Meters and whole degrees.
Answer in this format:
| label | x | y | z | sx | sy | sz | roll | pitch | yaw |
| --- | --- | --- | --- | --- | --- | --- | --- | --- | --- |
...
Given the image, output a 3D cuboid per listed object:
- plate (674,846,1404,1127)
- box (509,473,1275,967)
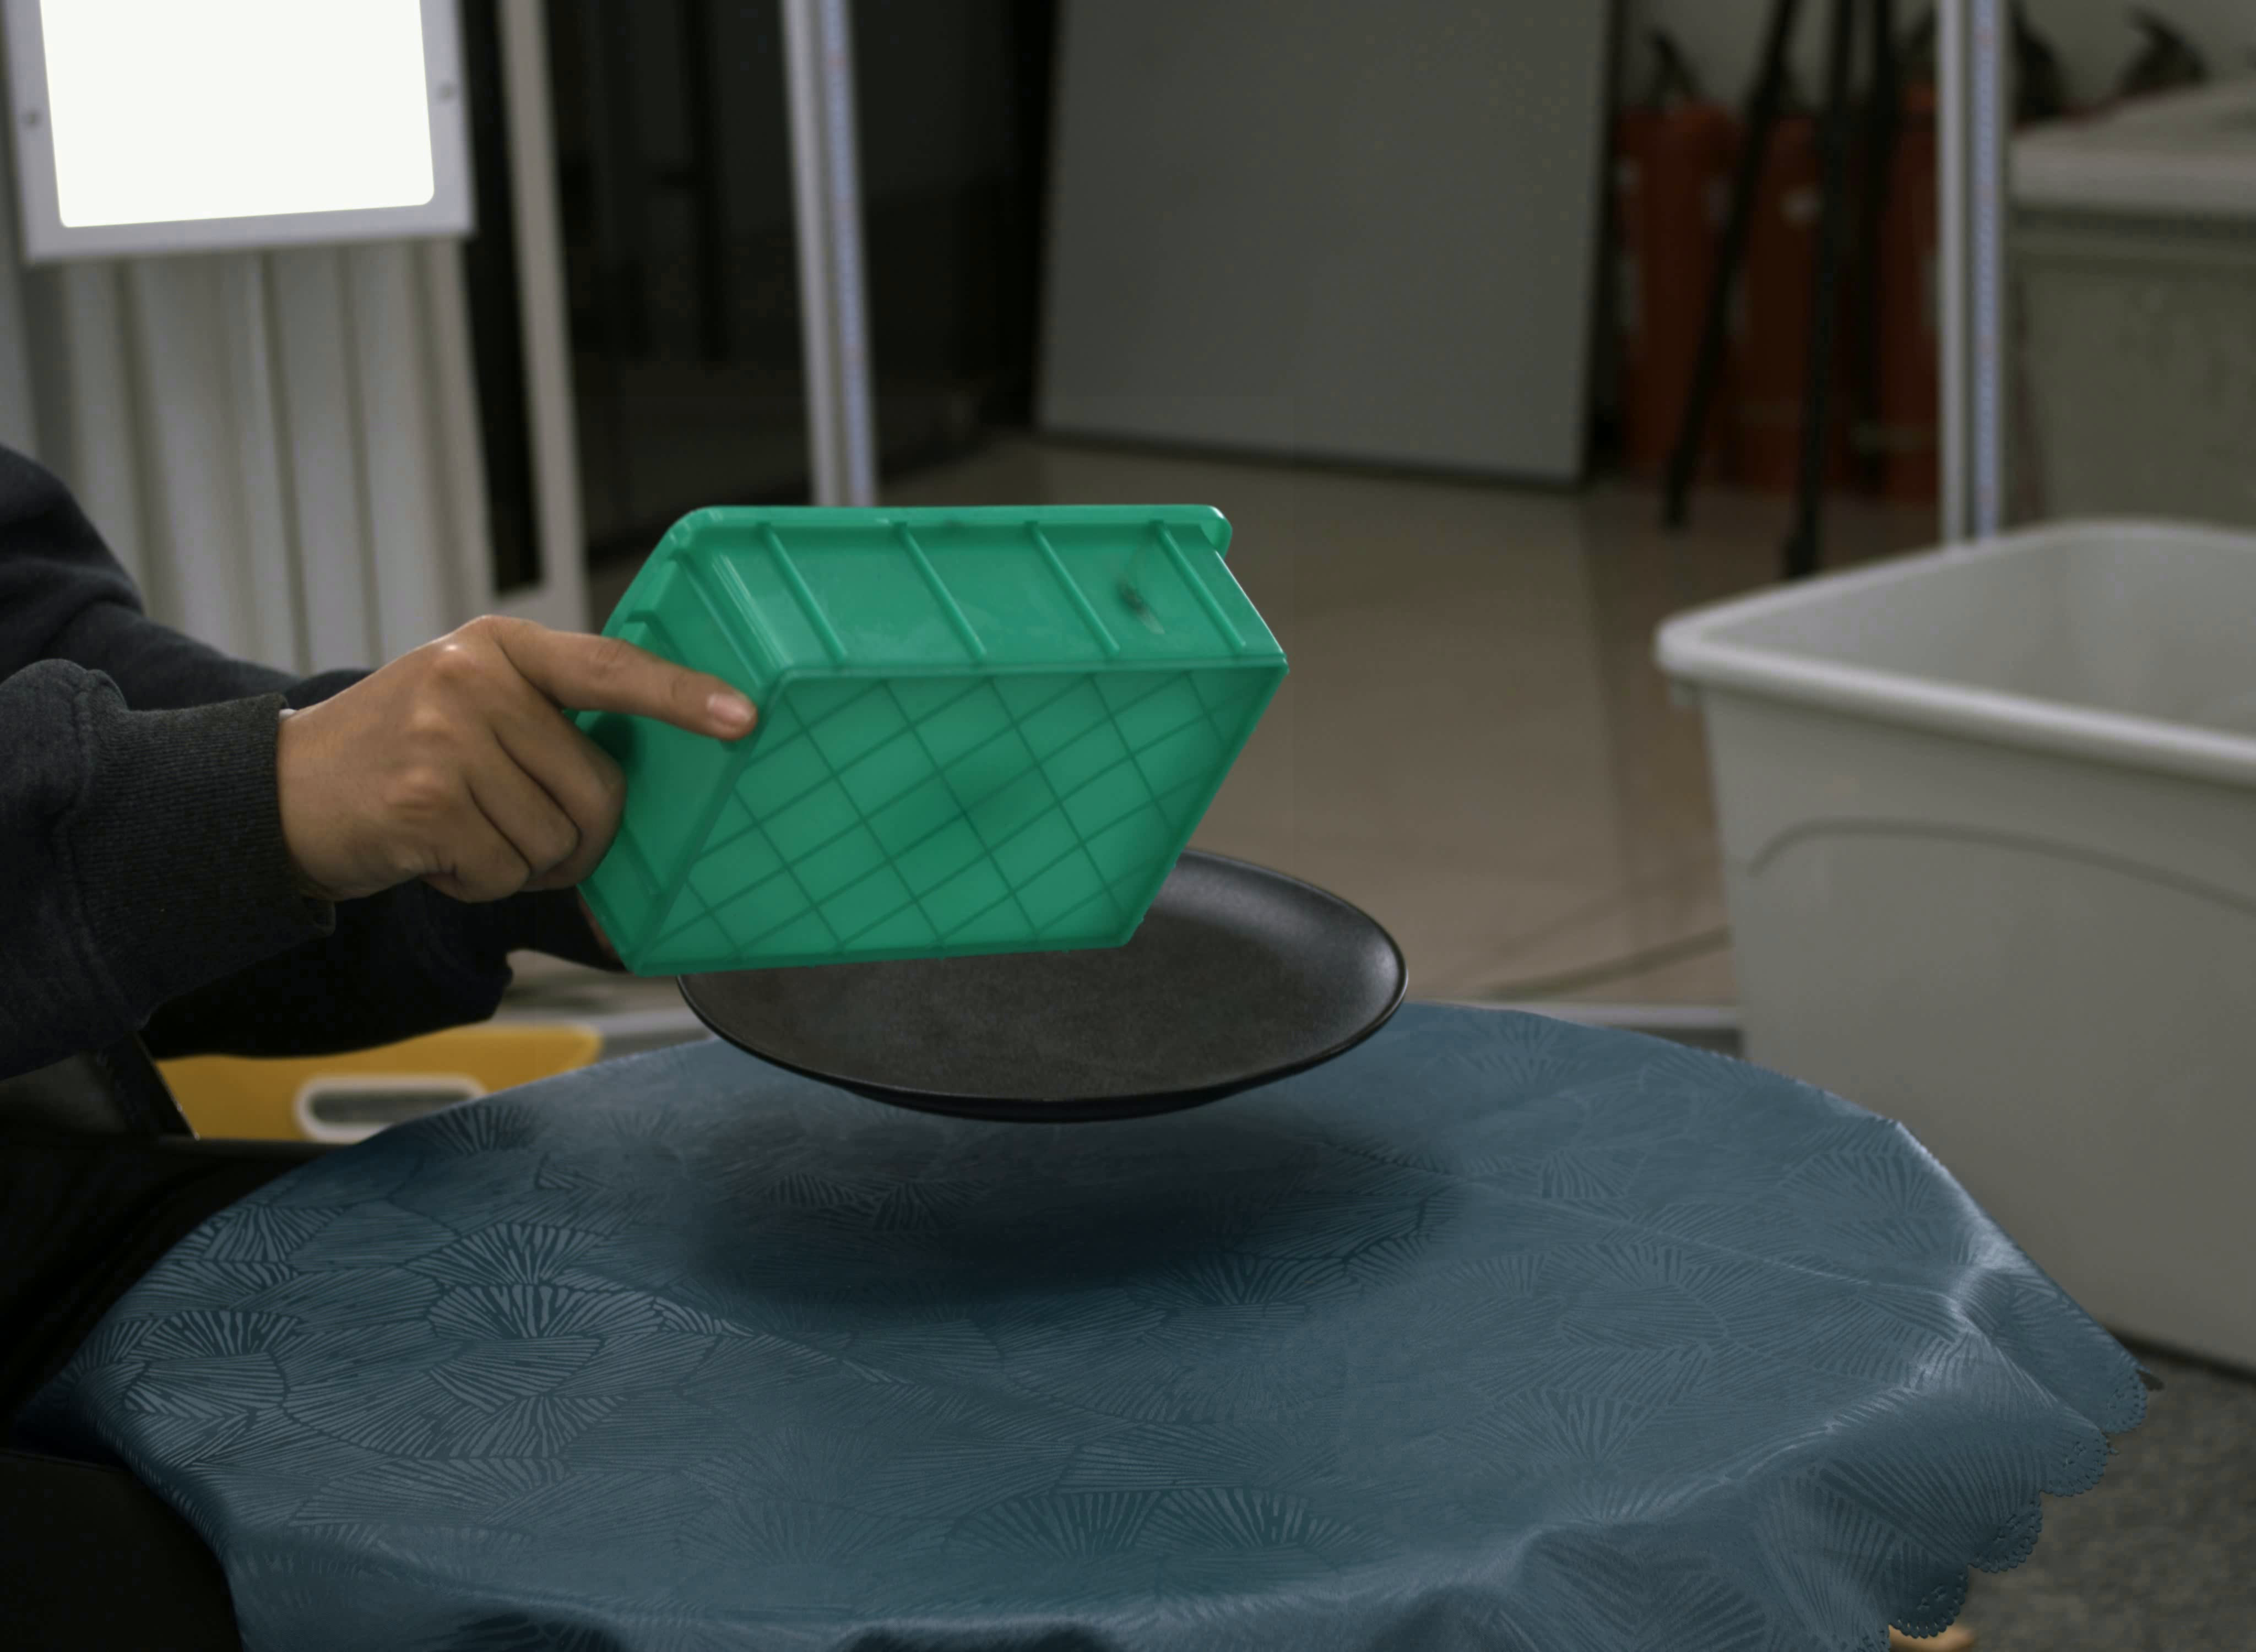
| label | x | y | z | sx | sy | sz | roll | pitch | yaw |
| --- | --- | --- | --- | --- | --- | --- | --- | --- | --- |
| plate | -0.029 | 0.054 | 1.779 | 0.241 | 0.024 | 0.245 | 0 | 20 | -1 |
| box | -0.062 | -0.028 | 1.544 | 0.205 | 0.140 | 0.066 | -4 | 44 | -40 |
